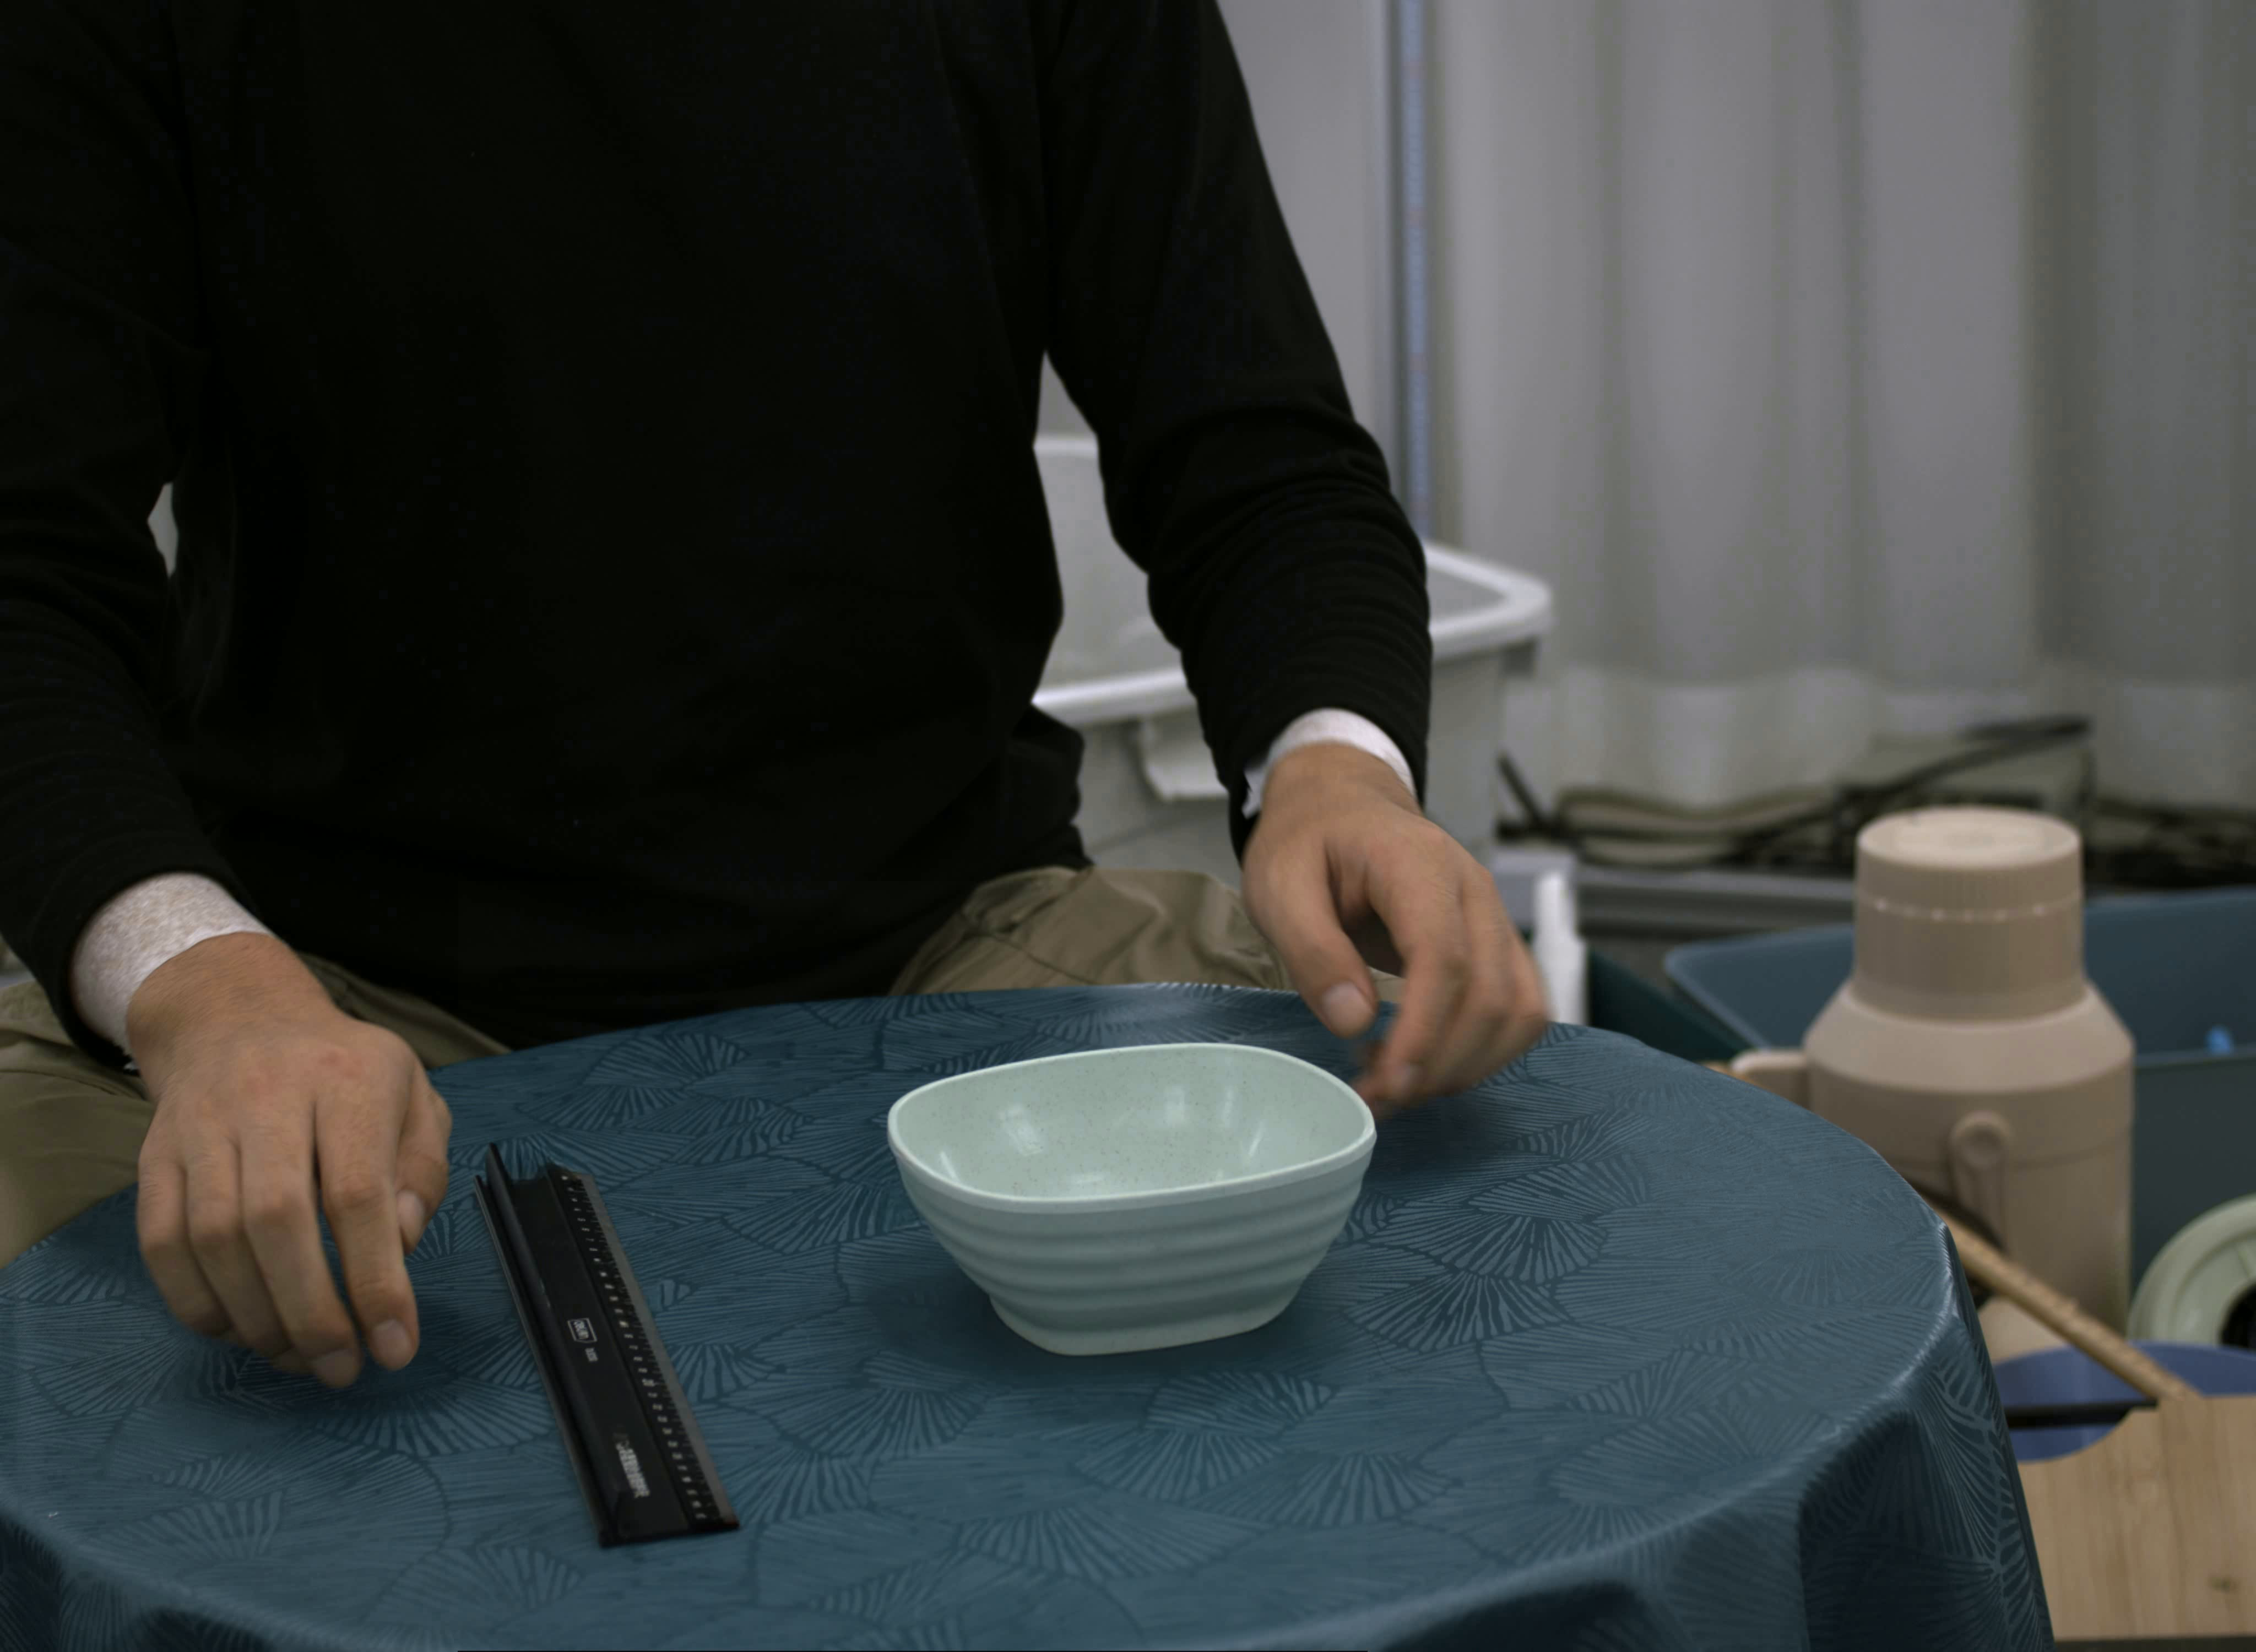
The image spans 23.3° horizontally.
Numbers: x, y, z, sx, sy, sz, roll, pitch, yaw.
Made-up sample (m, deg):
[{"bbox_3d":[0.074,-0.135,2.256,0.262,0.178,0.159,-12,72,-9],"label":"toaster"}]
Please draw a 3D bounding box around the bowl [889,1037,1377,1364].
[{"bbox_3d":[0.002,0.114,1.610,0.151,0.058,0.152,-3,17,1],"label":"bowl"}]

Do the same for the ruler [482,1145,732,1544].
[{"bbox_3d":[-0.155,0.145,1.599,0.039,0.017,0.315,-2,14,-12],"label":"ruler"}]
